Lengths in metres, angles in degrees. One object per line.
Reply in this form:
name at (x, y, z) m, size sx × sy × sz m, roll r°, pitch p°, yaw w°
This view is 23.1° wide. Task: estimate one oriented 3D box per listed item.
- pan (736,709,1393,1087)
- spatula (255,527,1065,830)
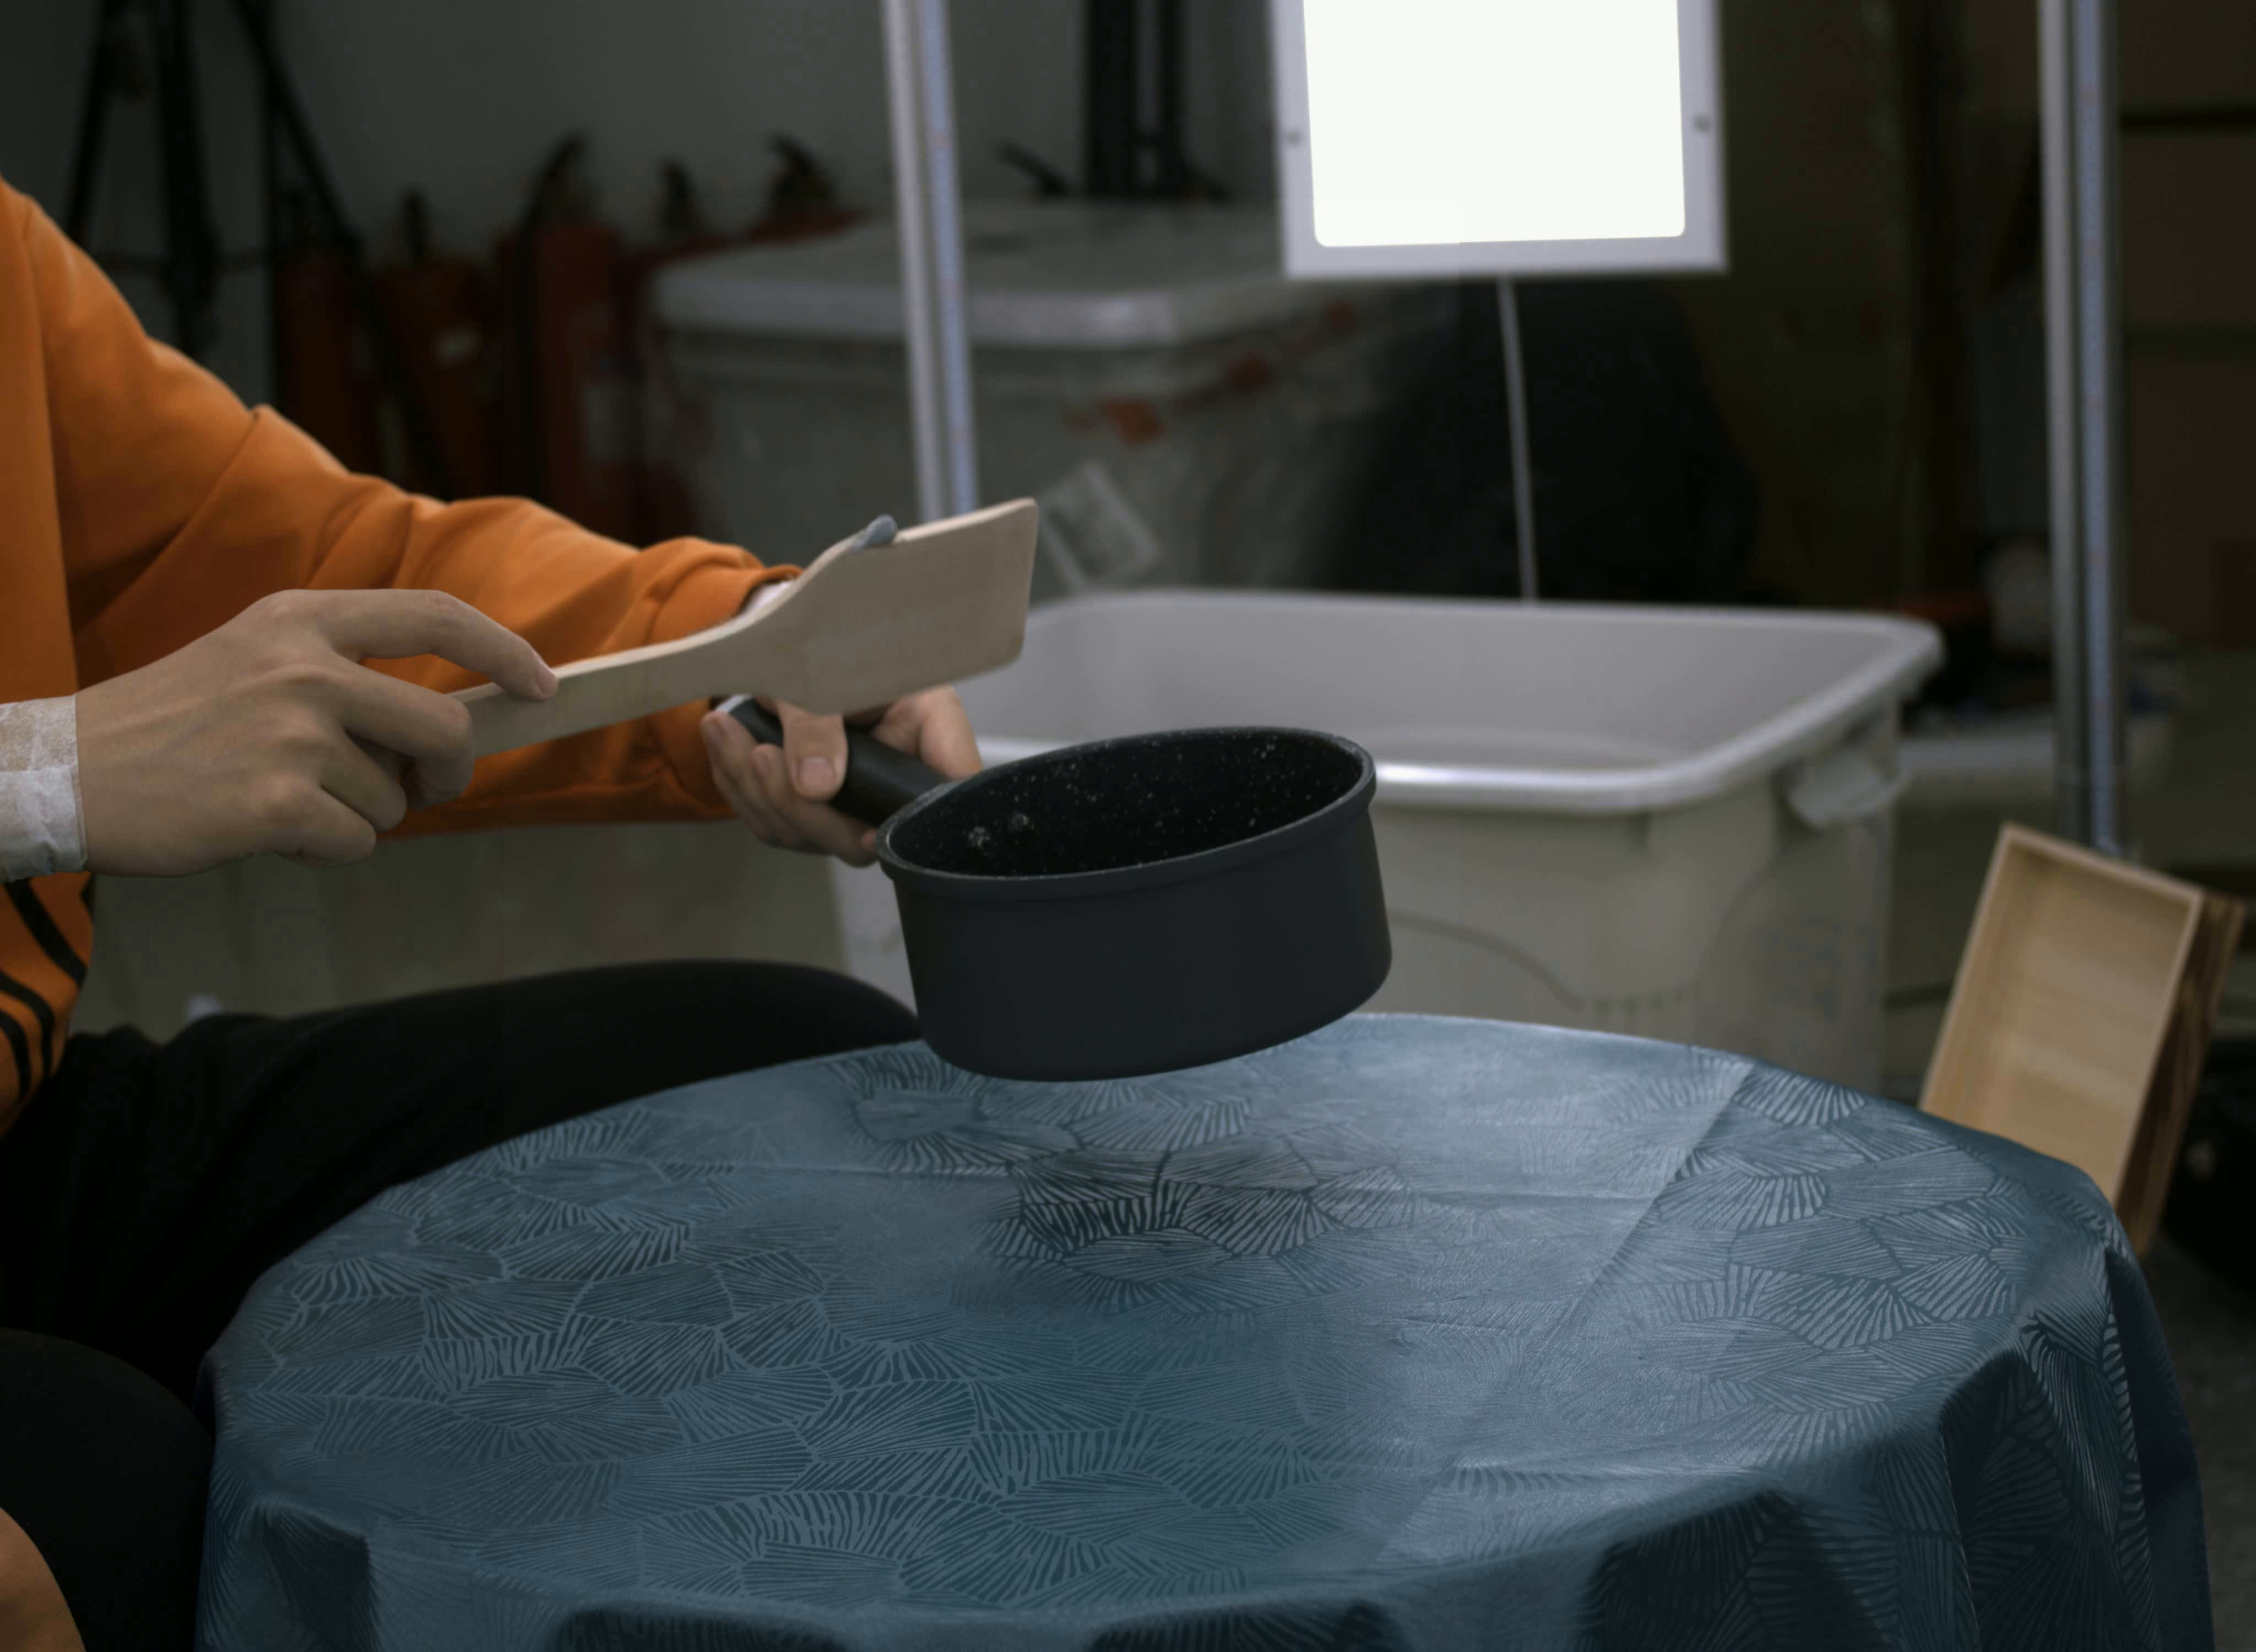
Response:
pan at (-0.040, 0.012, 1.928) m, size 0.168 × 0.087 × 0.335 m, roll -18°, pitch 18°, yaw -29°
spatula at (-0.149, -0.042, 1.812) m, size 0.287 × 0.073 × 0.011 m, roll -14°, pitch 45°, yaw -23°
